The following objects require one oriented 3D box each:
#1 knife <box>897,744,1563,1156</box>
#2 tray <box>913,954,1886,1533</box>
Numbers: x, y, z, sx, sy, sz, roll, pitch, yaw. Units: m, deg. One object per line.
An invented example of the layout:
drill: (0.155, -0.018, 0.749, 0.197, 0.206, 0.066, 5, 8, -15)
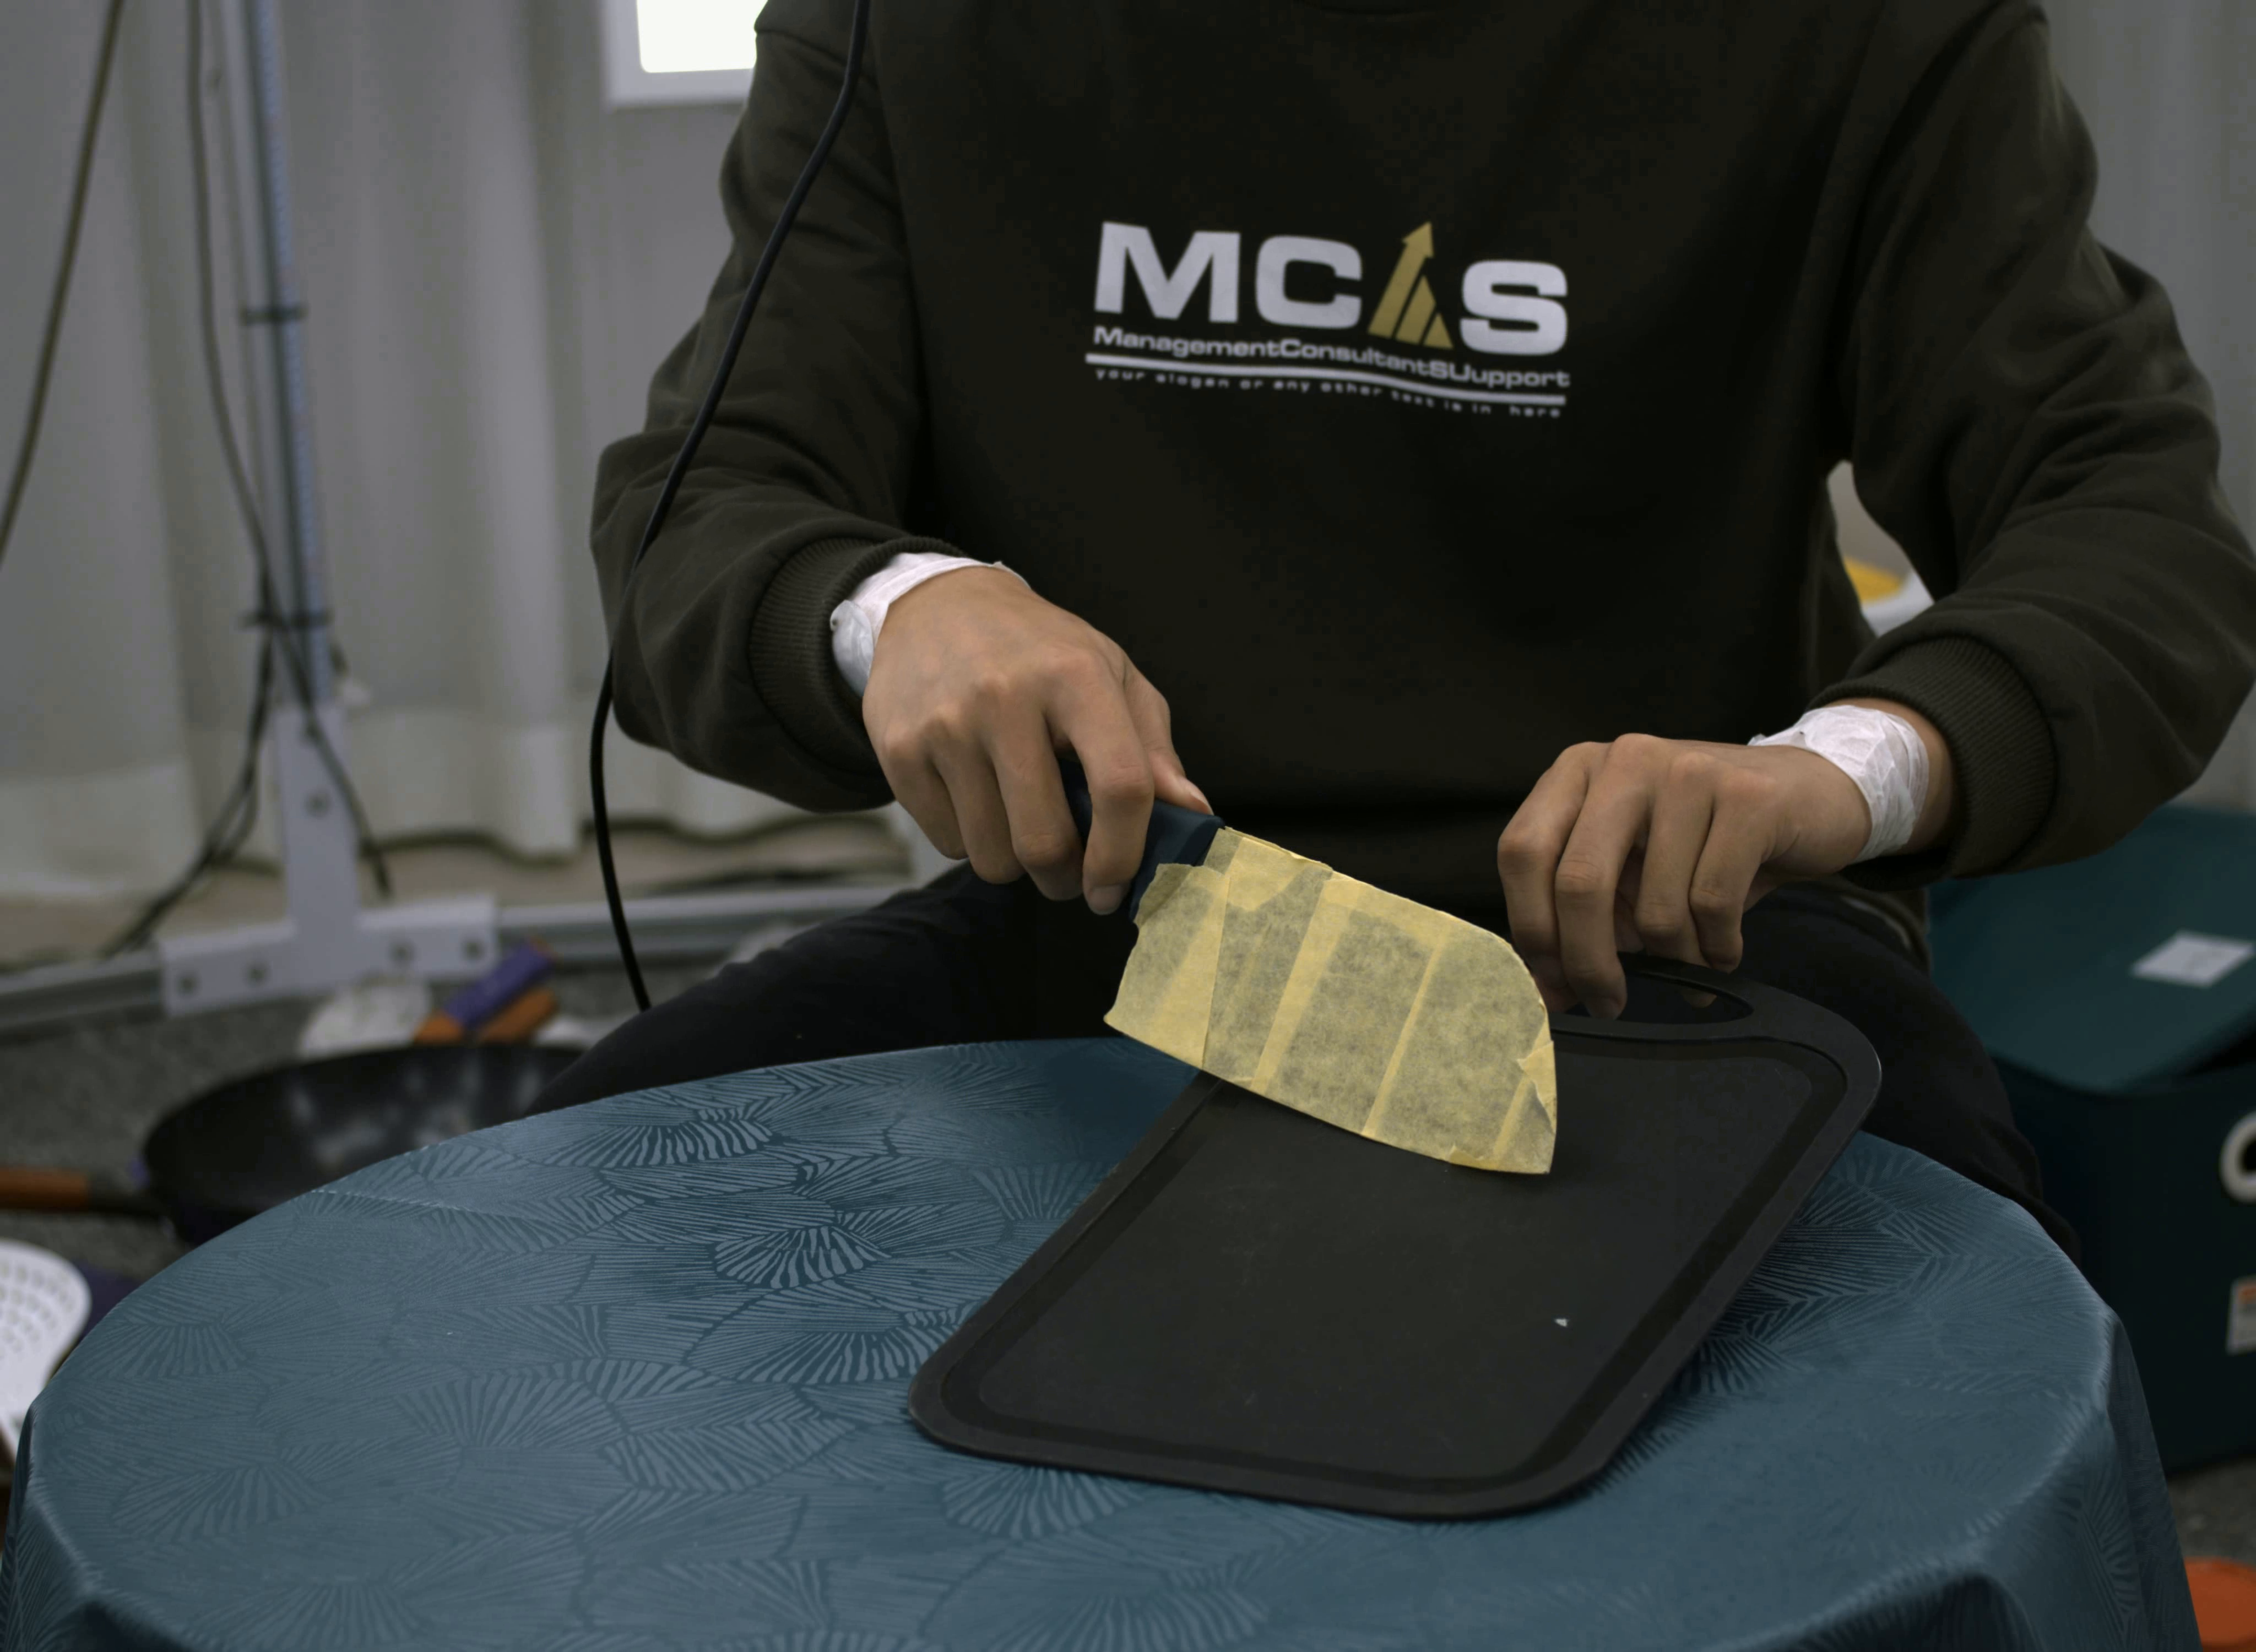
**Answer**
knife: (0.026, 0.035, 1.702, 0.292, 0.081, 0.027, 25, -3, 40)
tray: (0.087, 0.110, 1.600, 0.211, 0.010, 0.327, 6, 28, 27)
